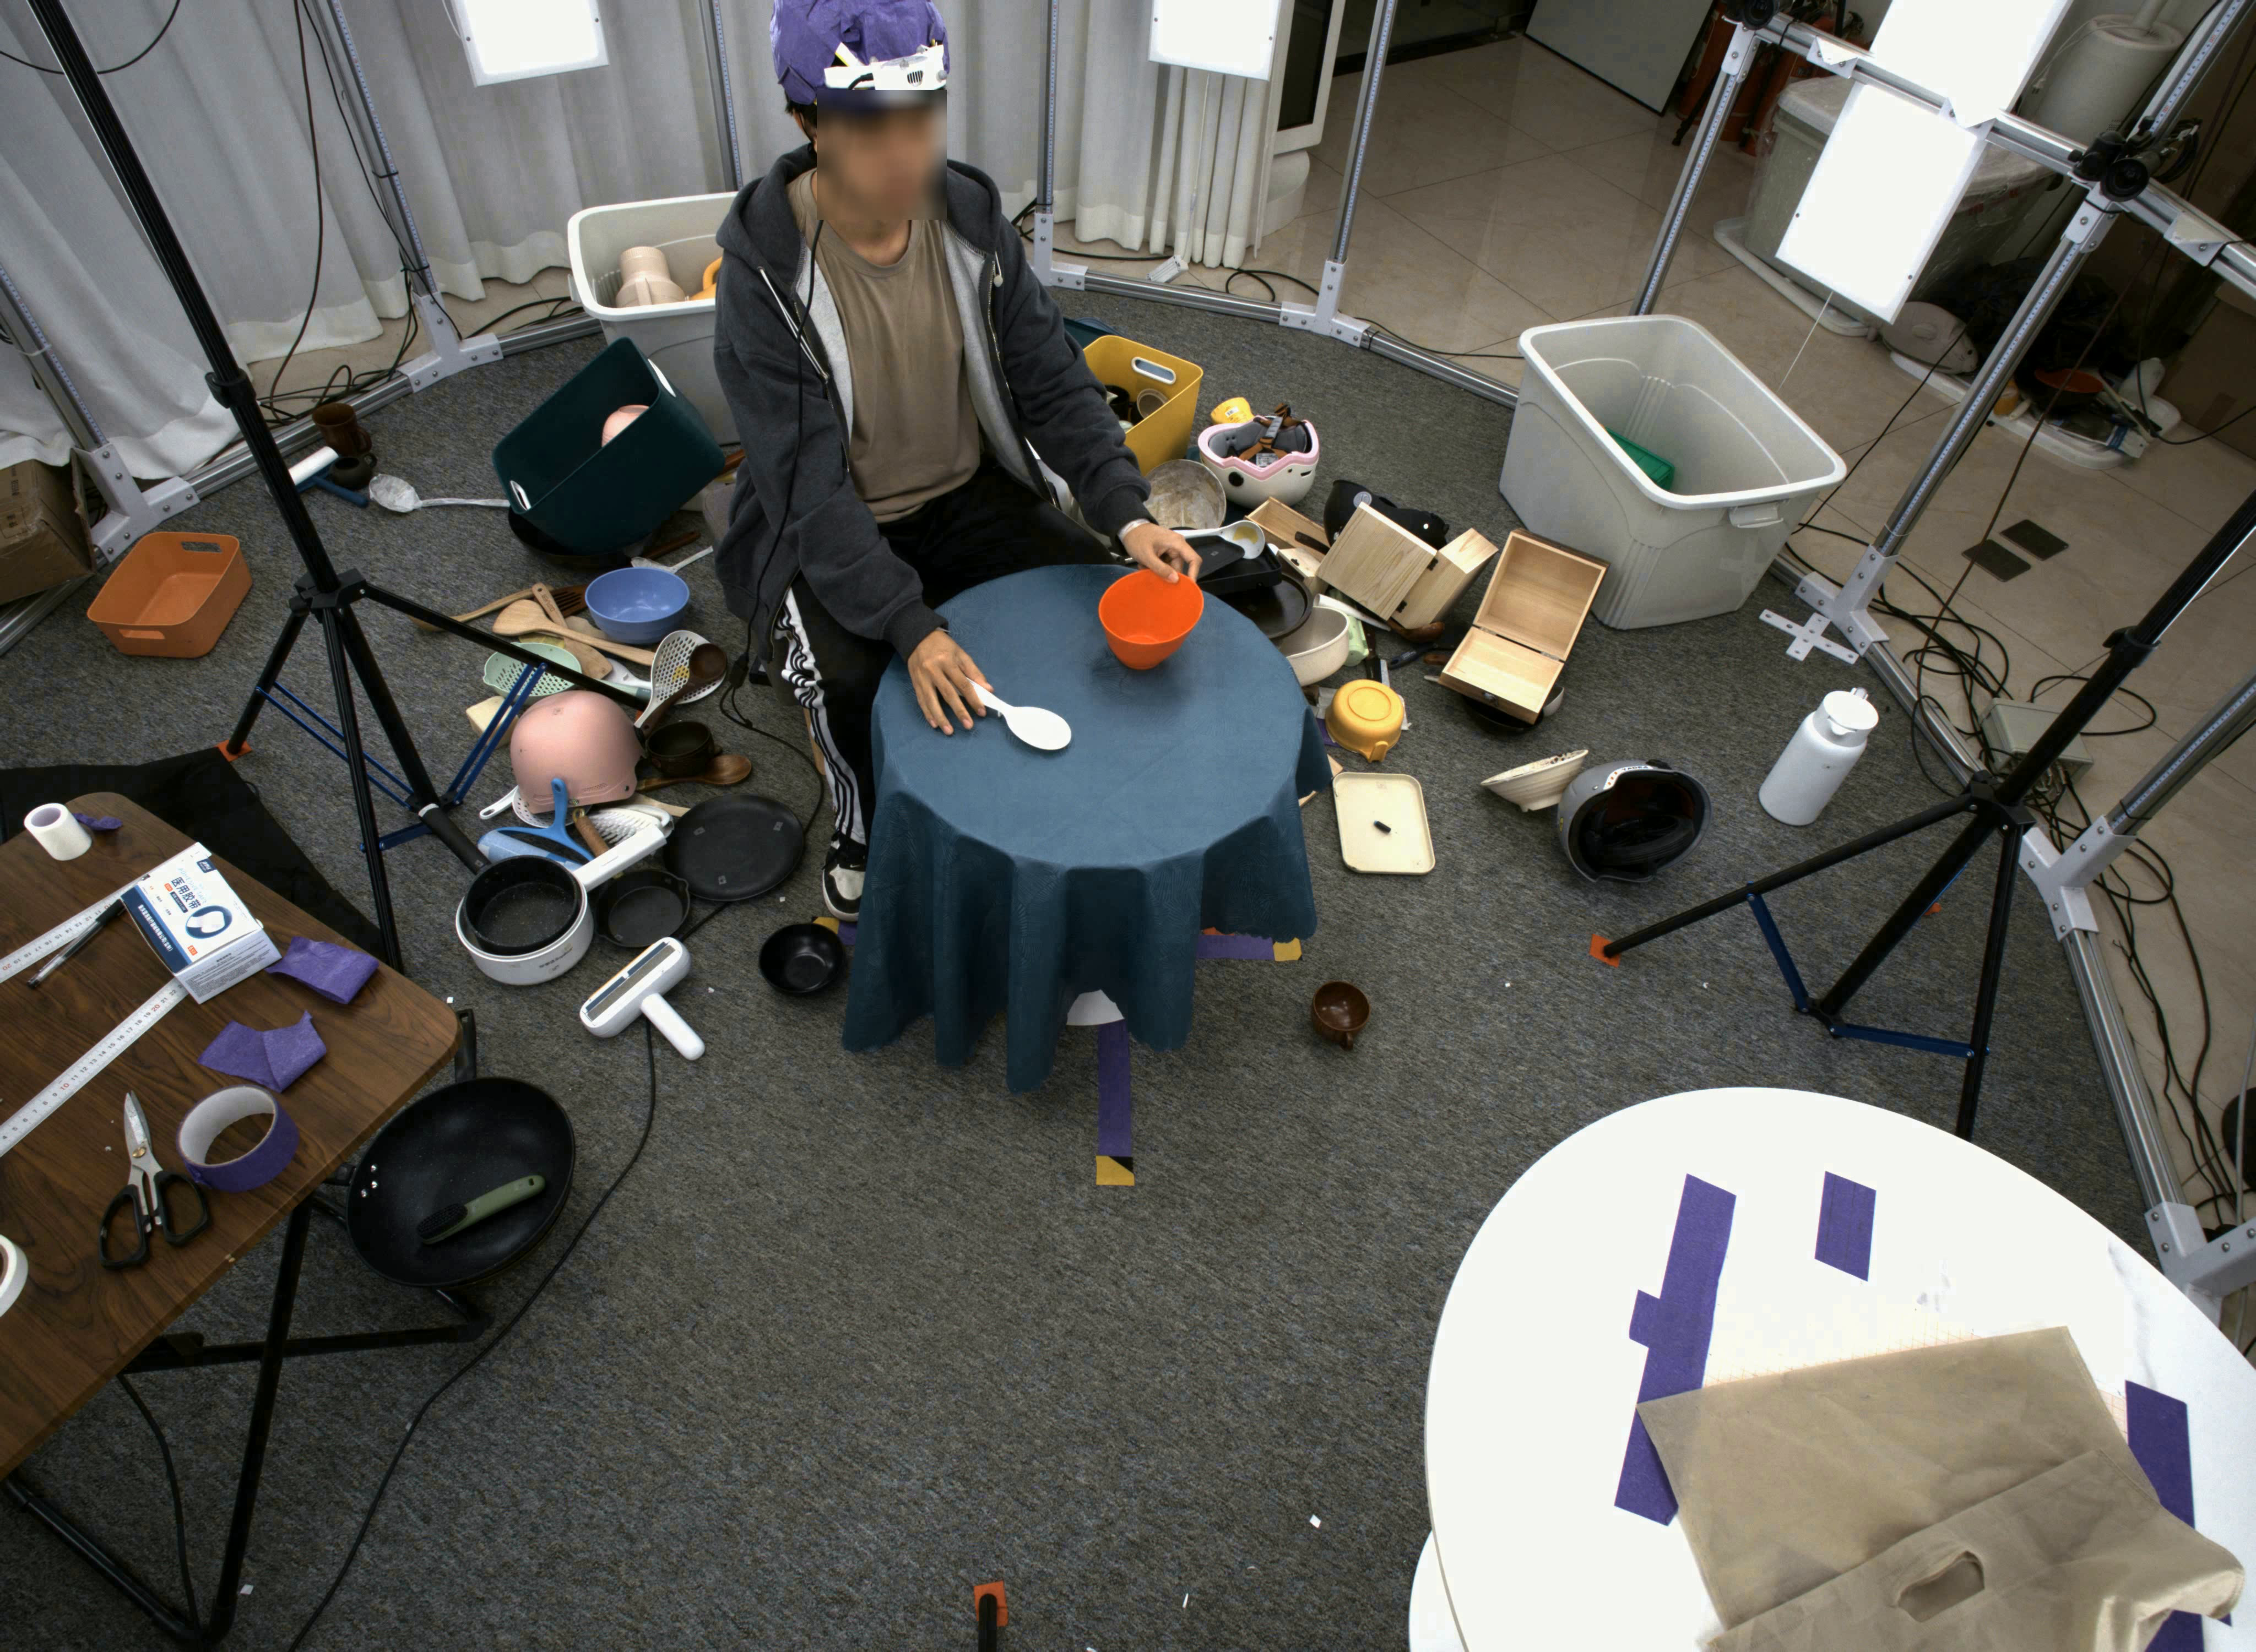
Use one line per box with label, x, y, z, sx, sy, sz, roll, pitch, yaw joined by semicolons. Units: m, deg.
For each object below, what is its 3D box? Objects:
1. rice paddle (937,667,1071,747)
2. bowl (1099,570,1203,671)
rice paddle;-0.170;-0.164;1.773;0.207;0.029;0.070;27;52;16
bowl;0.031;-0.286;1.851;0.148;0.102;0.152;1;51;-2
